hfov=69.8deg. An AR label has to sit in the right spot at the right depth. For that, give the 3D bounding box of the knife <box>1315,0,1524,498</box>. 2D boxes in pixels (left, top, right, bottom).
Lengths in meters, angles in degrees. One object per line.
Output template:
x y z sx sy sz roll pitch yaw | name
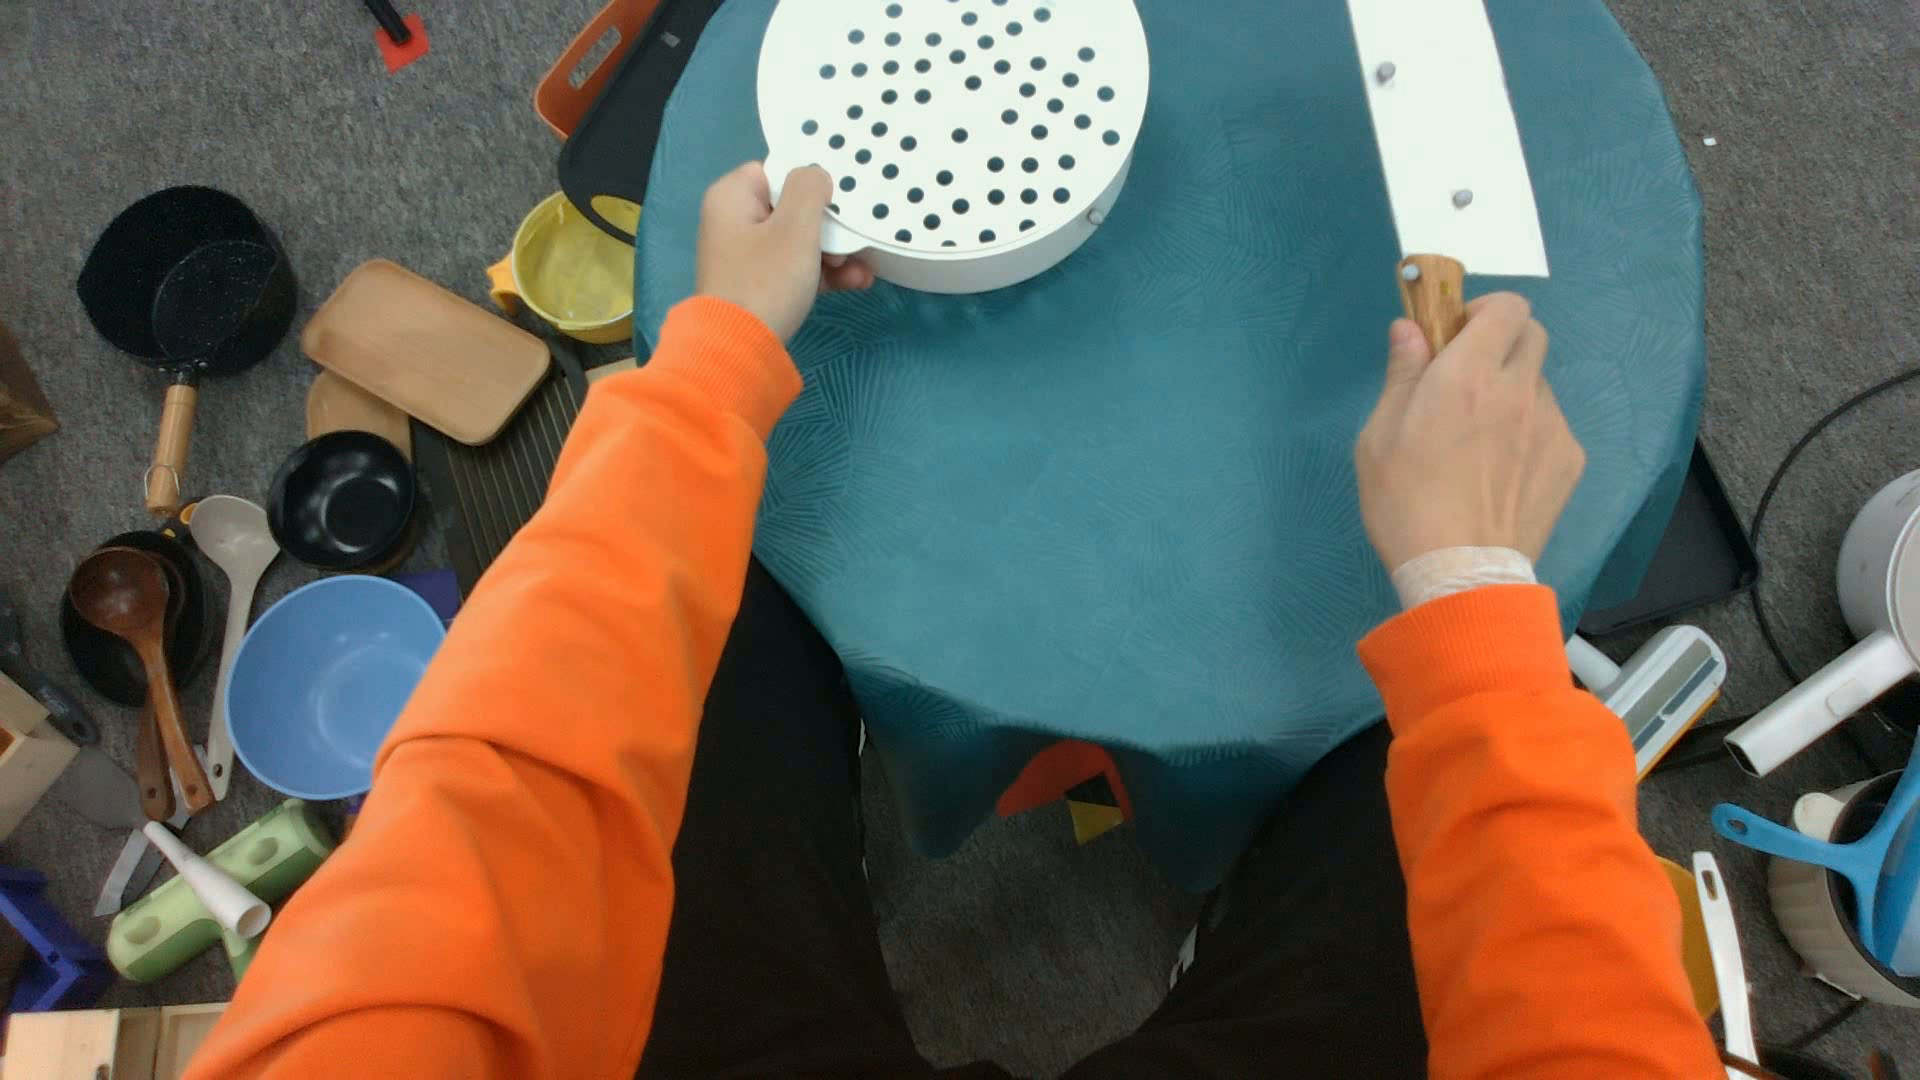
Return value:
0.237 -0.170 0.686 0.093 0.021 0.306 -5 76 -22 | knife

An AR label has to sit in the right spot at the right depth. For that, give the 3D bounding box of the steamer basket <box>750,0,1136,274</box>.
-0.008 -0.241 0.741 0.231 0.069 0.202 -44 79 -9 | steamer basket
